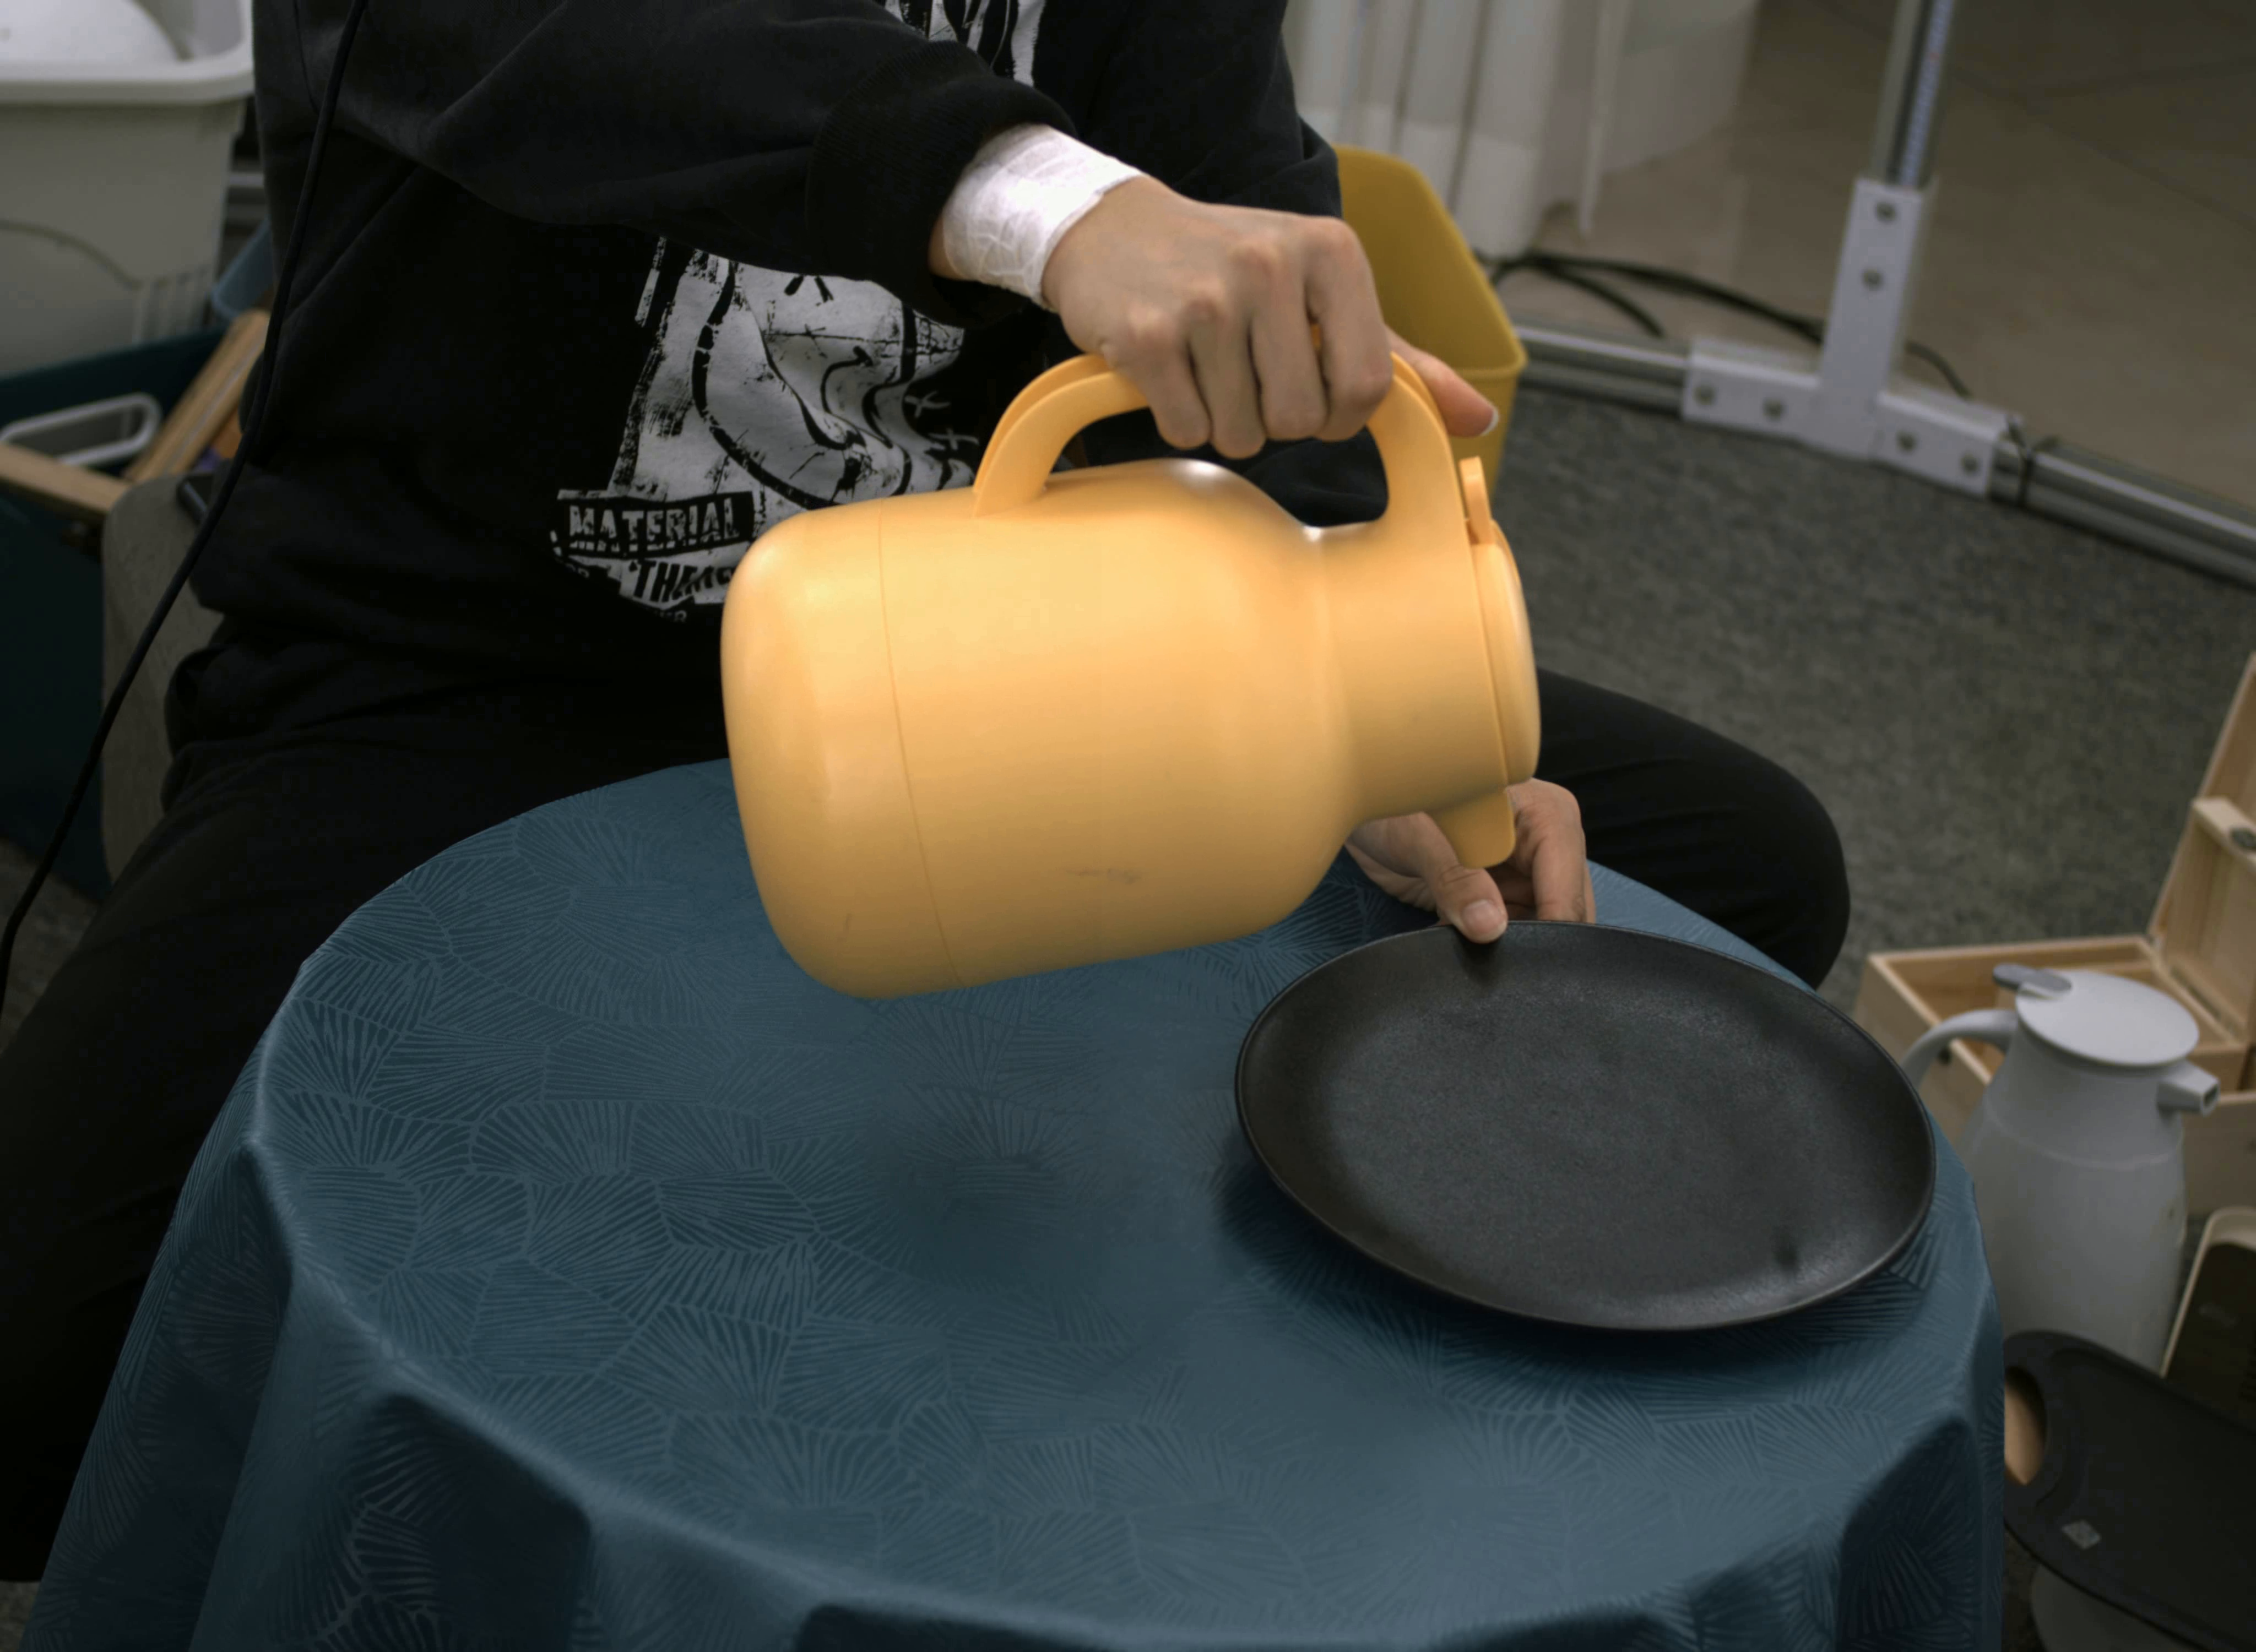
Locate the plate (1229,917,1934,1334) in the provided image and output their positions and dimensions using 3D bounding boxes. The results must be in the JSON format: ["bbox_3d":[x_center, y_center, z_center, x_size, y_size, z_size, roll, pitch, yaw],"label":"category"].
[{"bbox_3d":[0.155,0.107,1.830,0.243,0.023,0.246,4,32,-3],"label":"plate"}]

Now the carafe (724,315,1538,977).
[{"bbox_3d":[0.001,-0.061,1.734,0.260,0.202,0.164,-7,19,1],"label":"carafe"}]
